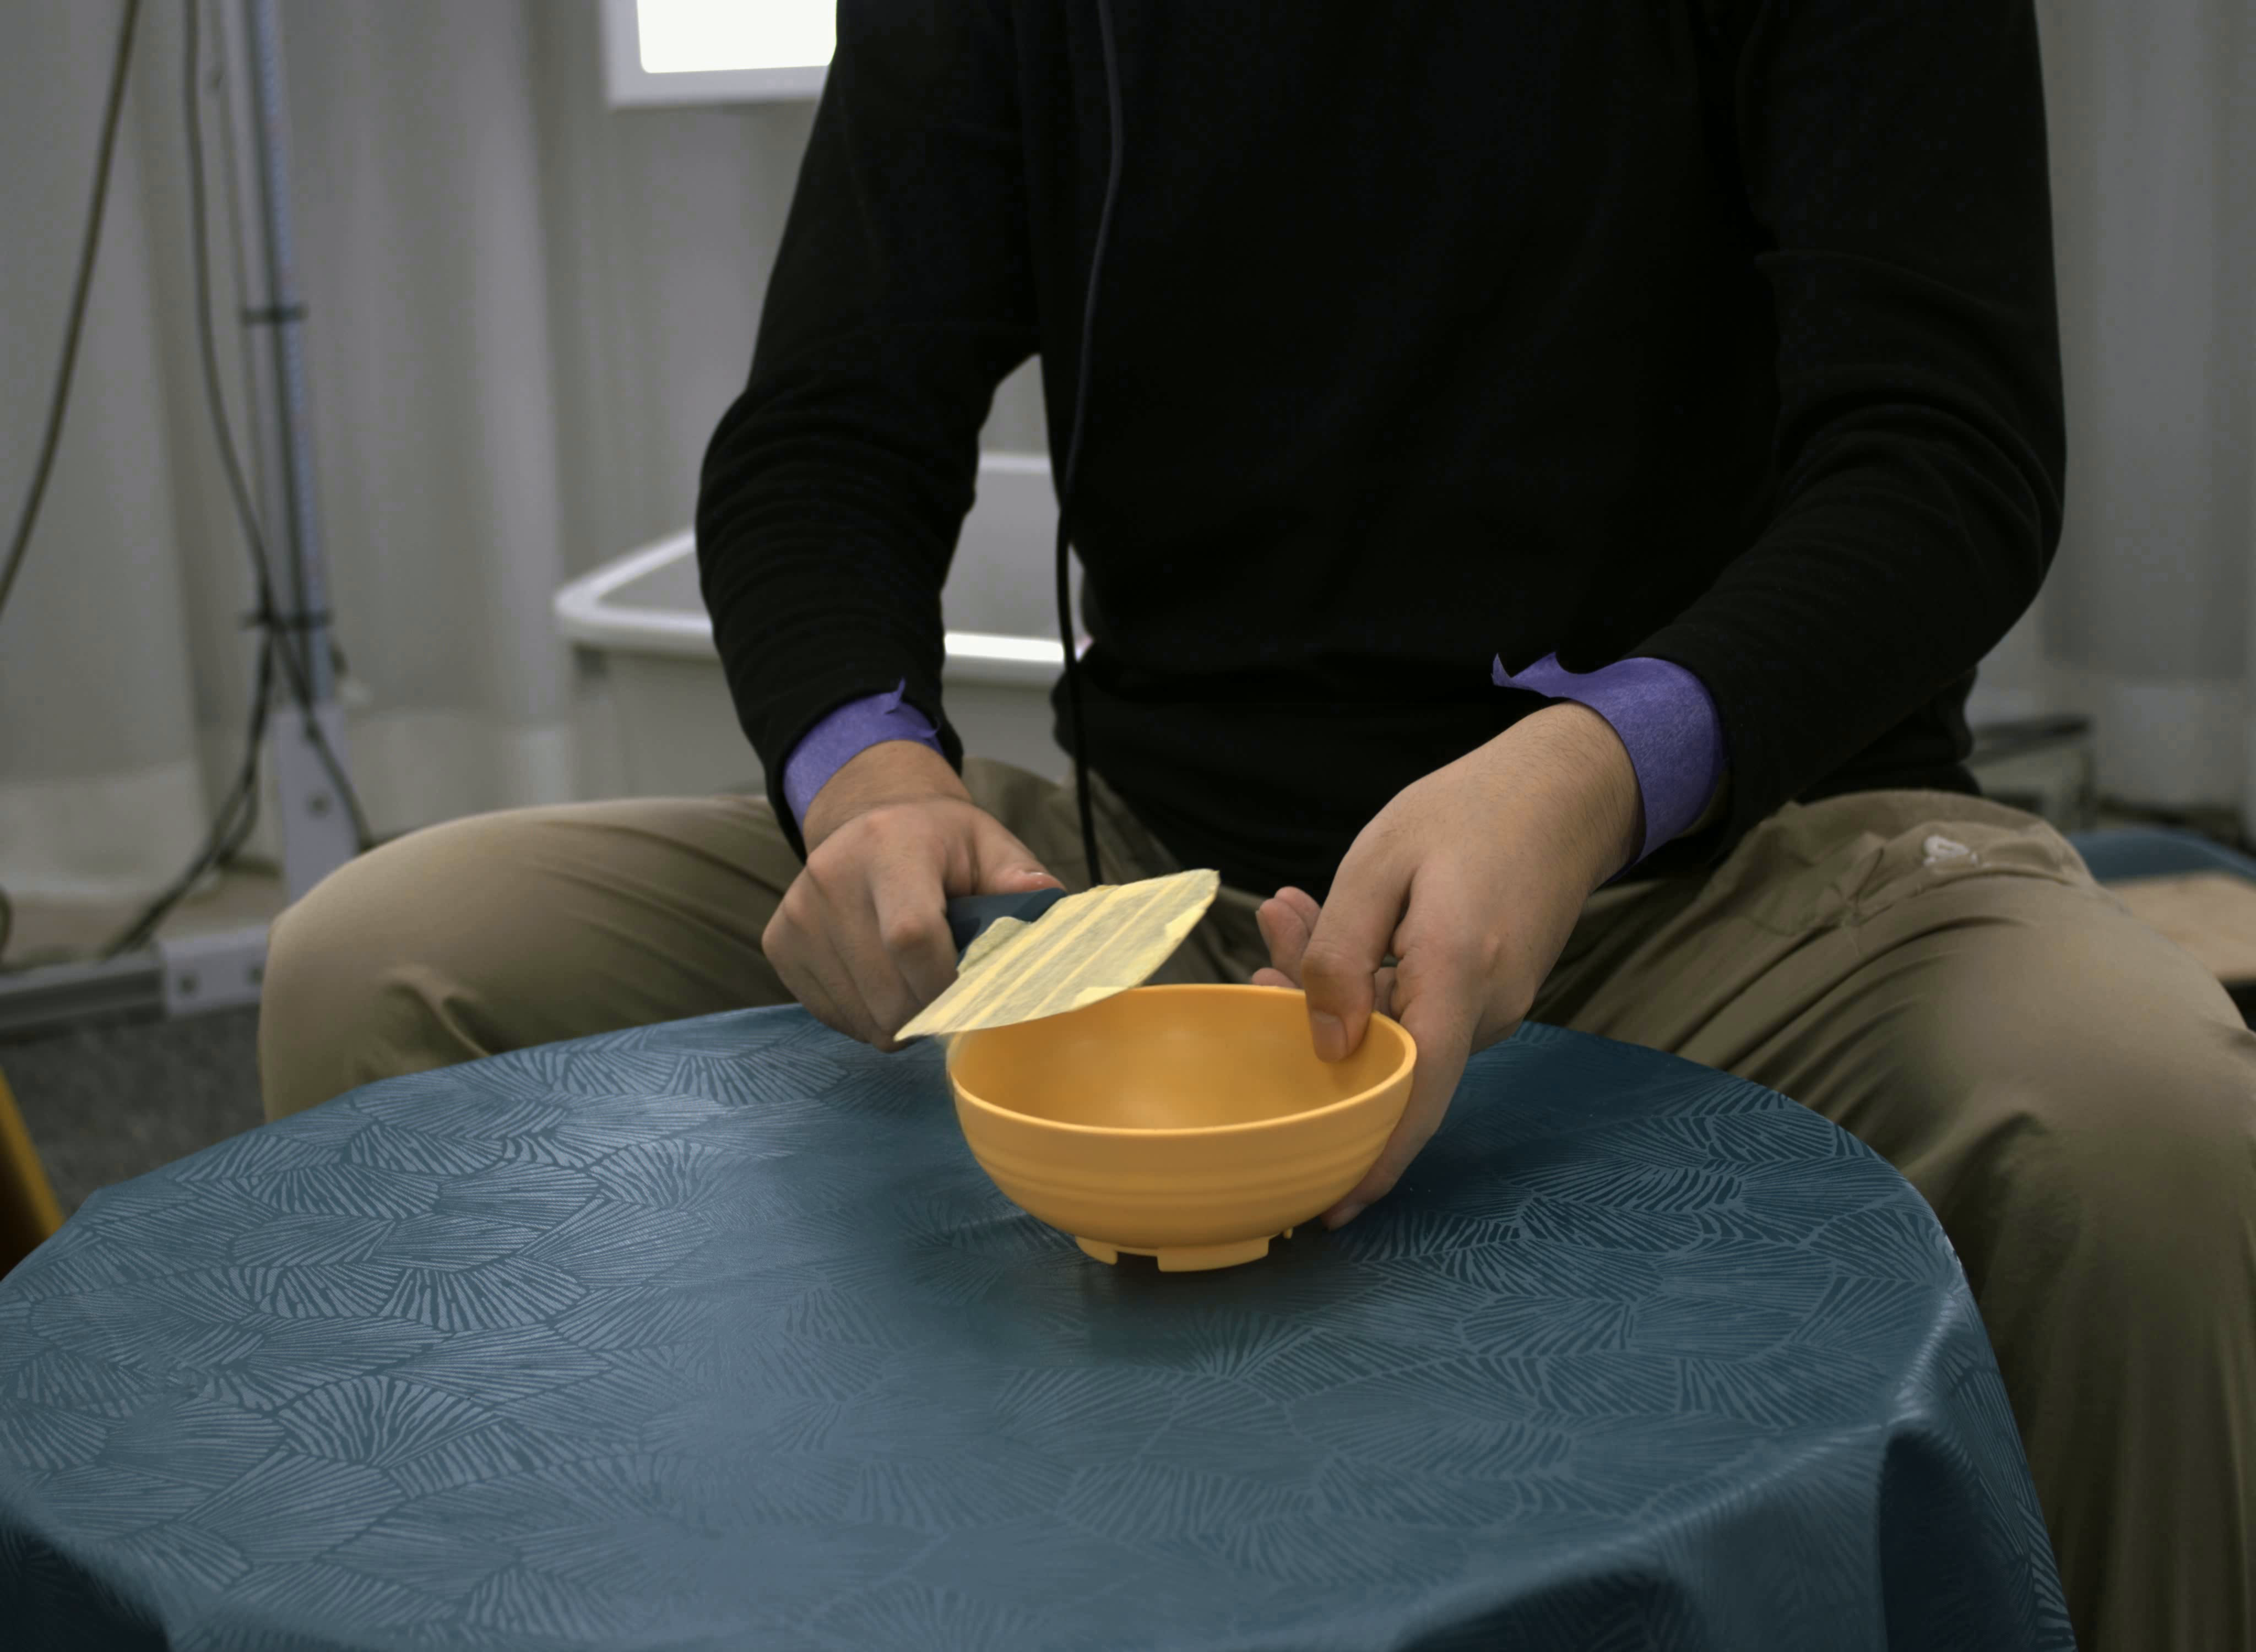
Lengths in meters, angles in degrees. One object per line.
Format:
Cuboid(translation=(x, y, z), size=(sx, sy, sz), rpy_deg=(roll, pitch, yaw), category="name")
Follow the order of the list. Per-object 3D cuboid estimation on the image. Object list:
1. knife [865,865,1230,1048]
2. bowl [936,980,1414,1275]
Cuboid(translation=(-0.036, 0.045, 1.725), size=(0.081, 0.027, 0.289), rpy_deg=(-38, 8, -20), category="knife")
Cuboid(translation=(0.014, 0.097, 1.656), size=(0.145, 0.060, 0.146), rpy_deg=(0, 16, 0), category="bowl")
